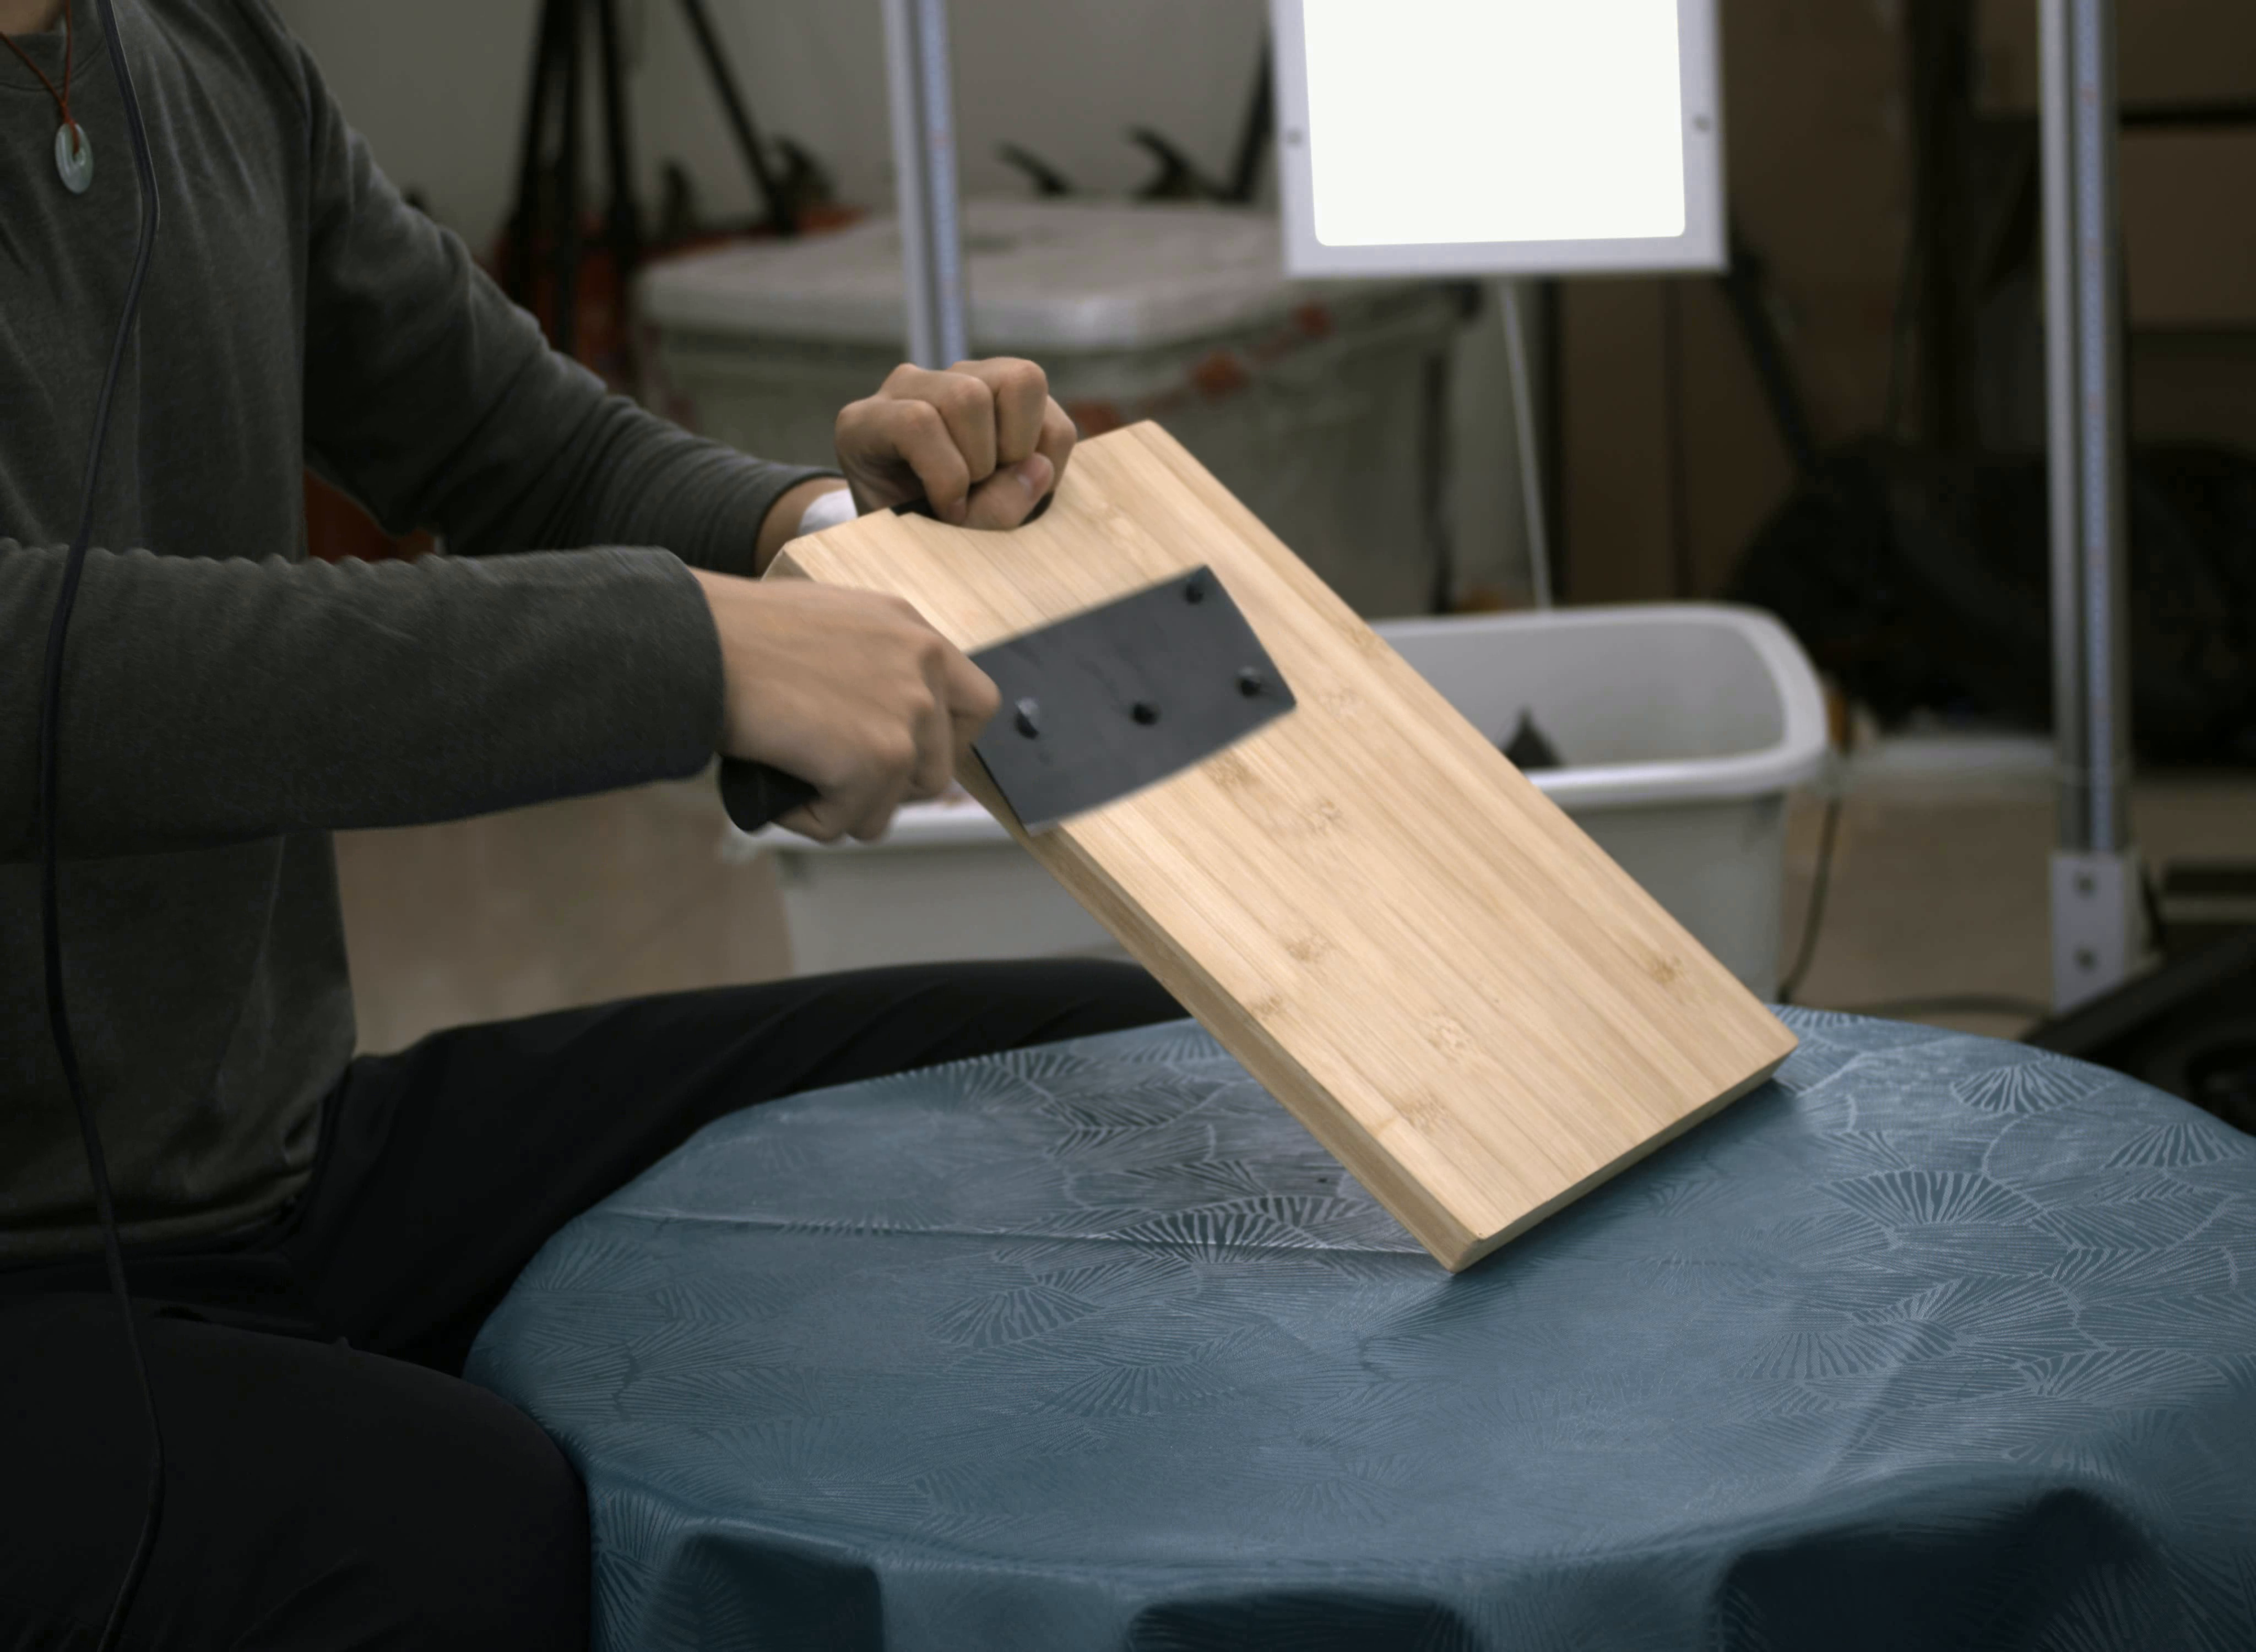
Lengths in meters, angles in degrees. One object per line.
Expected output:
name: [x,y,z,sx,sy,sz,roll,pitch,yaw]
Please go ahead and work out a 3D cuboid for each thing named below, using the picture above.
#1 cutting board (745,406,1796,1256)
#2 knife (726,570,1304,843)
cutting board: [0.054,-0.006,1.924,0.351,0.024,0.245,44,33,16]
knife: [-0.034,-0.033,1.844,0.021,0.081,0.295,-38,-13,36]
